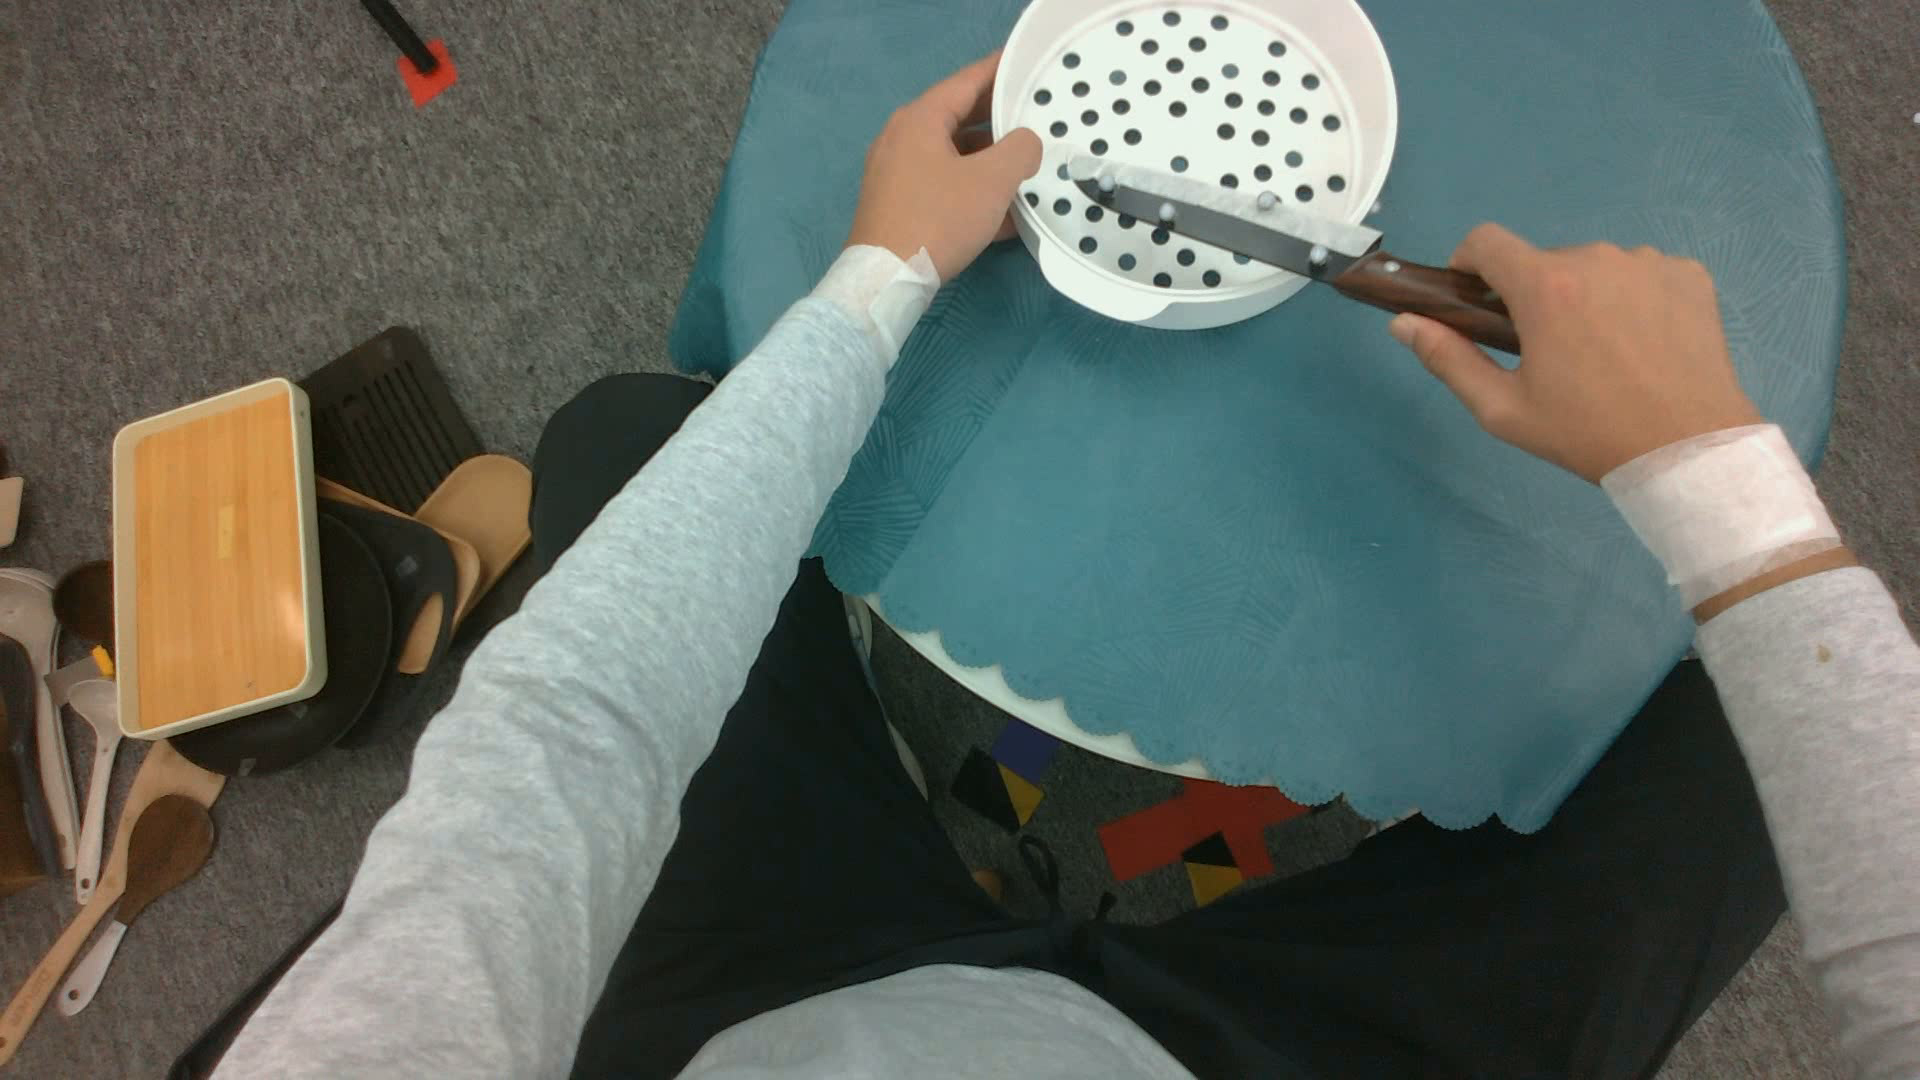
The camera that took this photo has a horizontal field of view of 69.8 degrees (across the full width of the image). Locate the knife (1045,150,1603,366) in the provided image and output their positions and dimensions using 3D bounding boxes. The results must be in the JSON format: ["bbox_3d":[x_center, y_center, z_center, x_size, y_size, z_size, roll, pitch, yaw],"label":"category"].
[{"bbox_3d":[0.157,-0.140,0.643,0.289,0.020,0.050,27,54,27],"label":"knife"}]

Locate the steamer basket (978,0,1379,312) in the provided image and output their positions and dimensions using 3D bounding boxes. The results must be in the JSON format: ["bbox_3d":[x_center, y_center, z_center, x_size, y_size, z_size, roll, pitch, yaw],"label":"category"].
[{"bbox_3d":[0.111,-0.219,0.722,0.202,0.069,0.231,27,82,7],"label":"steamer basket"}]
